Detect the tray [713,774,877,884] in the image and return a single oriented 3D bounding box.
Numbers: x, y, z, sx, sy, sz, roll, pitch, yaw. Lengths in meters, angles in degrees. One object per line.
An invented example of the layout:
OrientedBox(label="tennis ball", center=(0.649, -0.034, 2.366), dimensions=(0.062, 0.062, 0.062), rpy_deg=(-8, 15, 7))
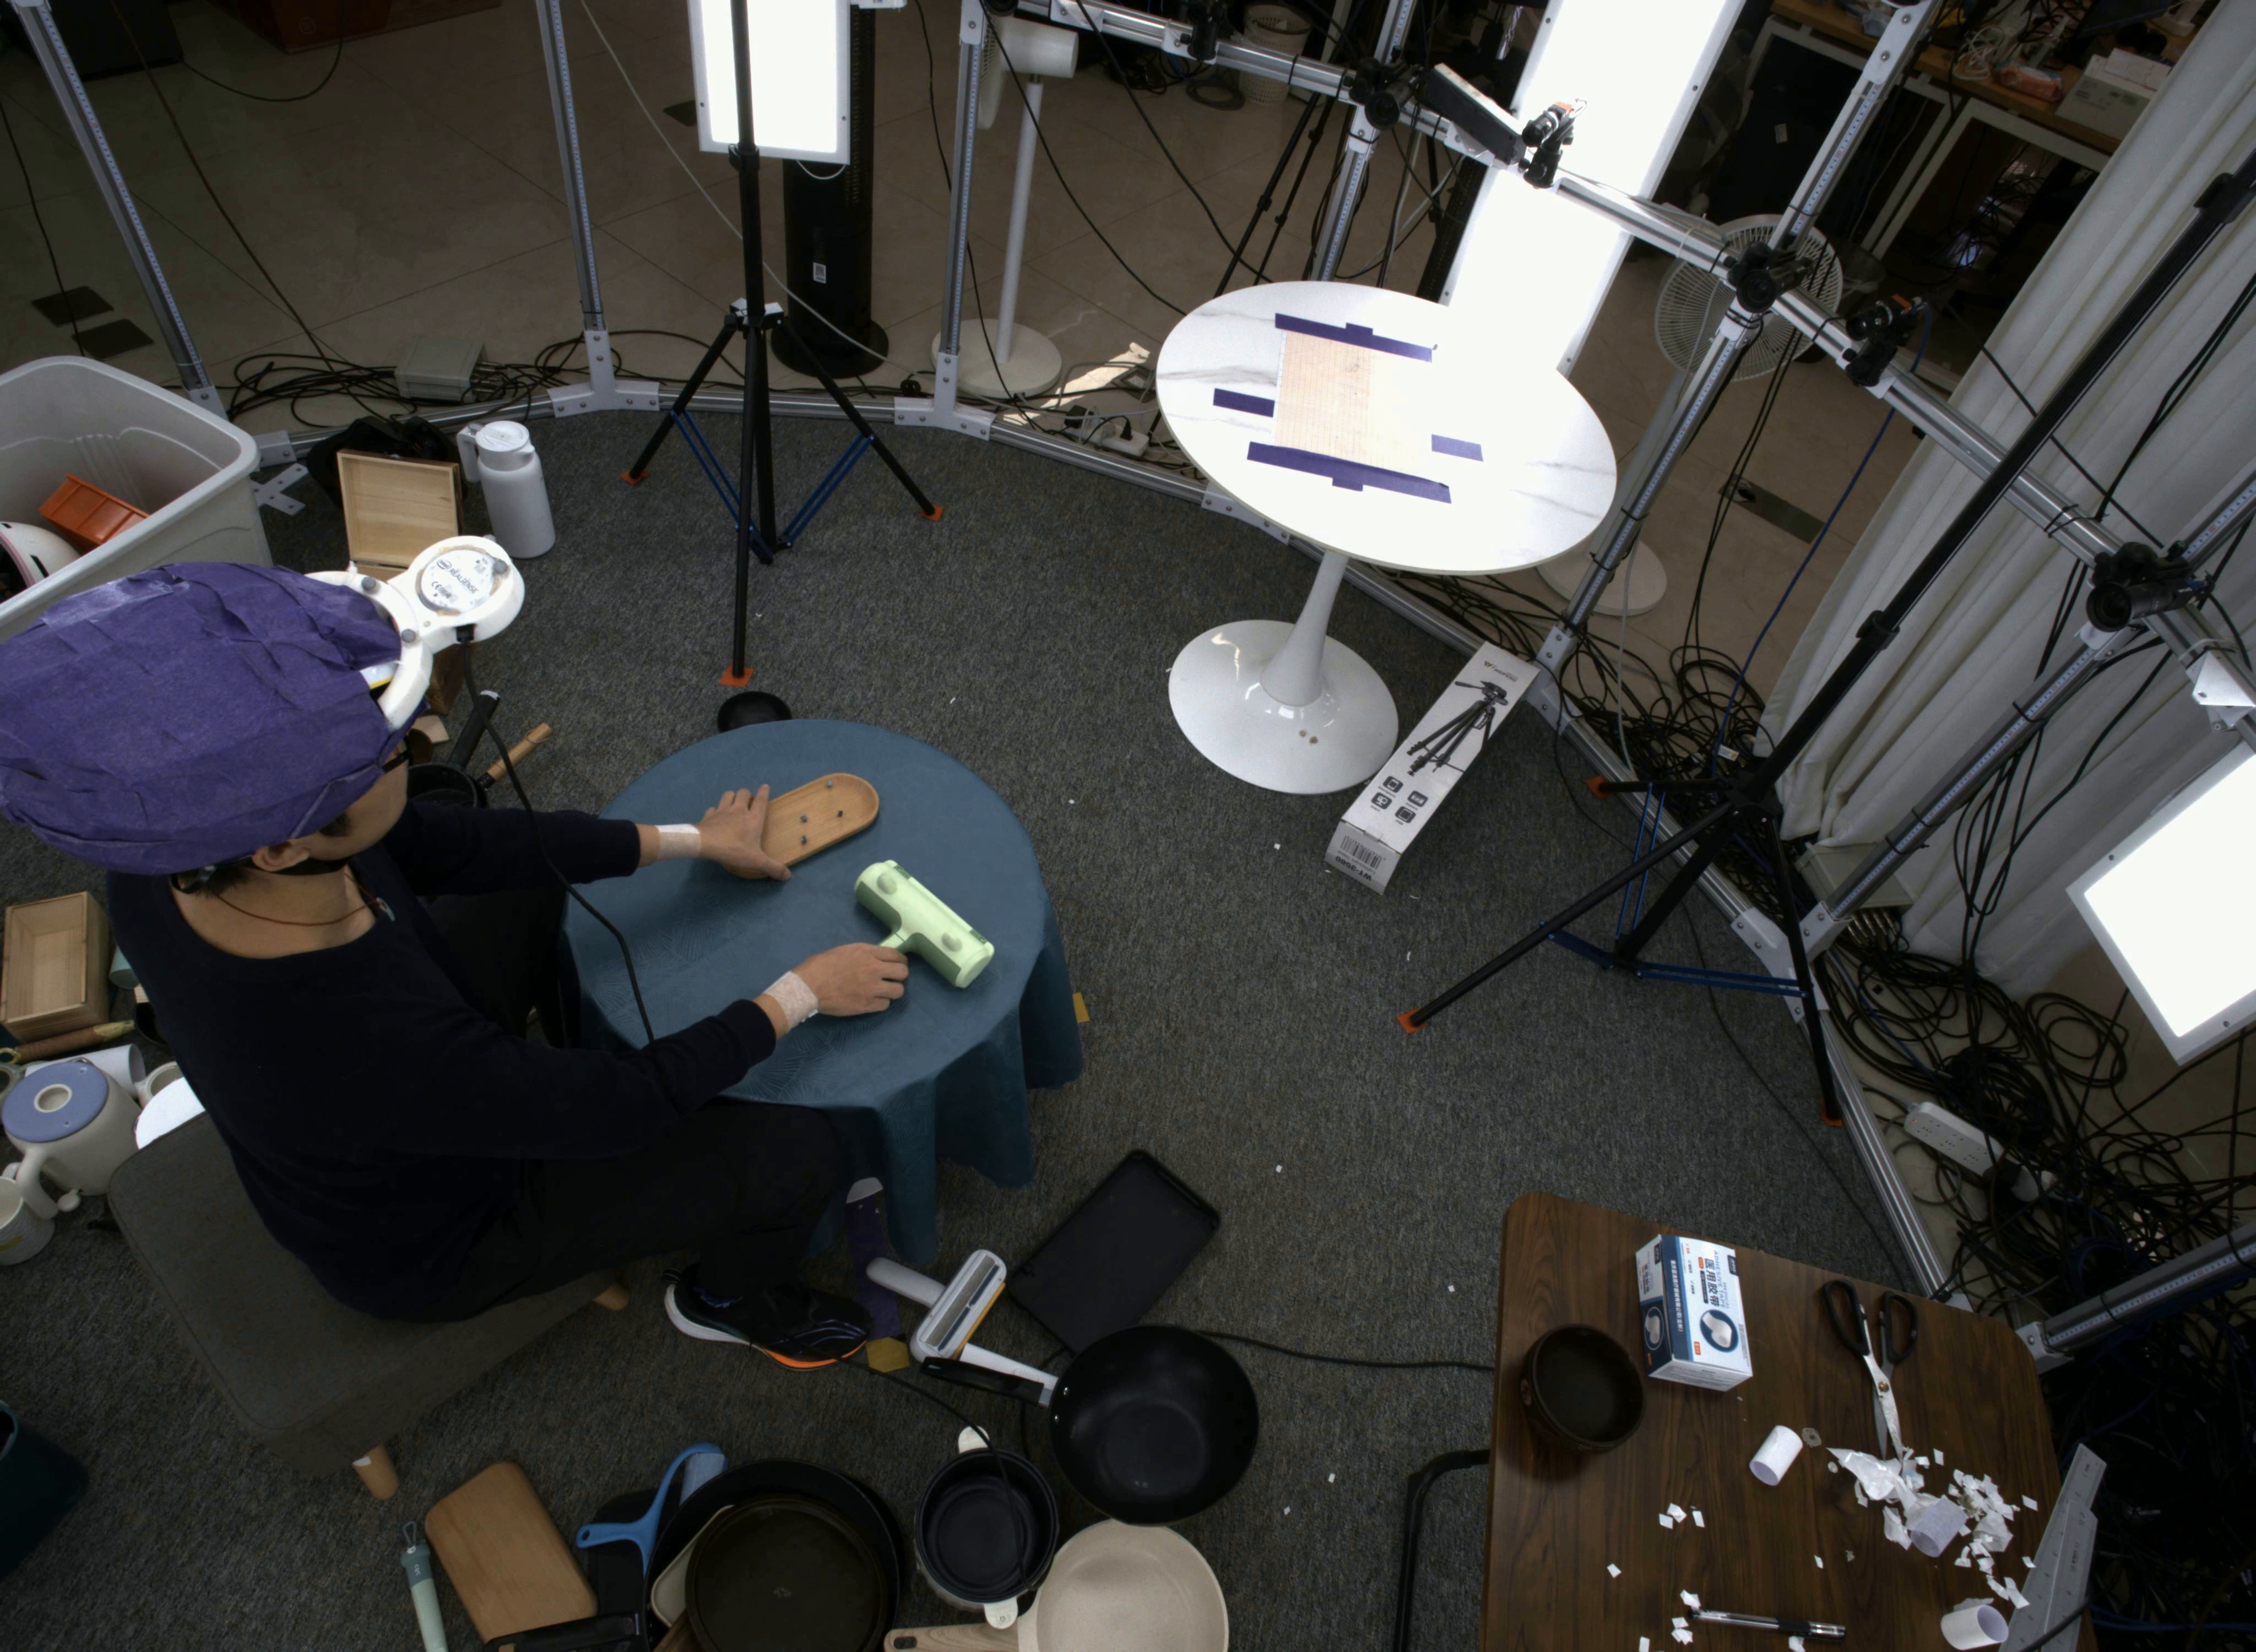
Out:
OrientedBox(label="tray", center=(-0.435, 0.001, 1.700), dimensions=(0.232, 0.021, 0.099), rpy_deg=(-31, 65, -31))

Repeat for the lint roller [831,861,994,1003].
OrientedBox(label="lint roller", center=(-0.291, 0.141, 1.587), dimensions=(0.194, 0.084, 0.183), rpy_deg=(37, 48, 15))
